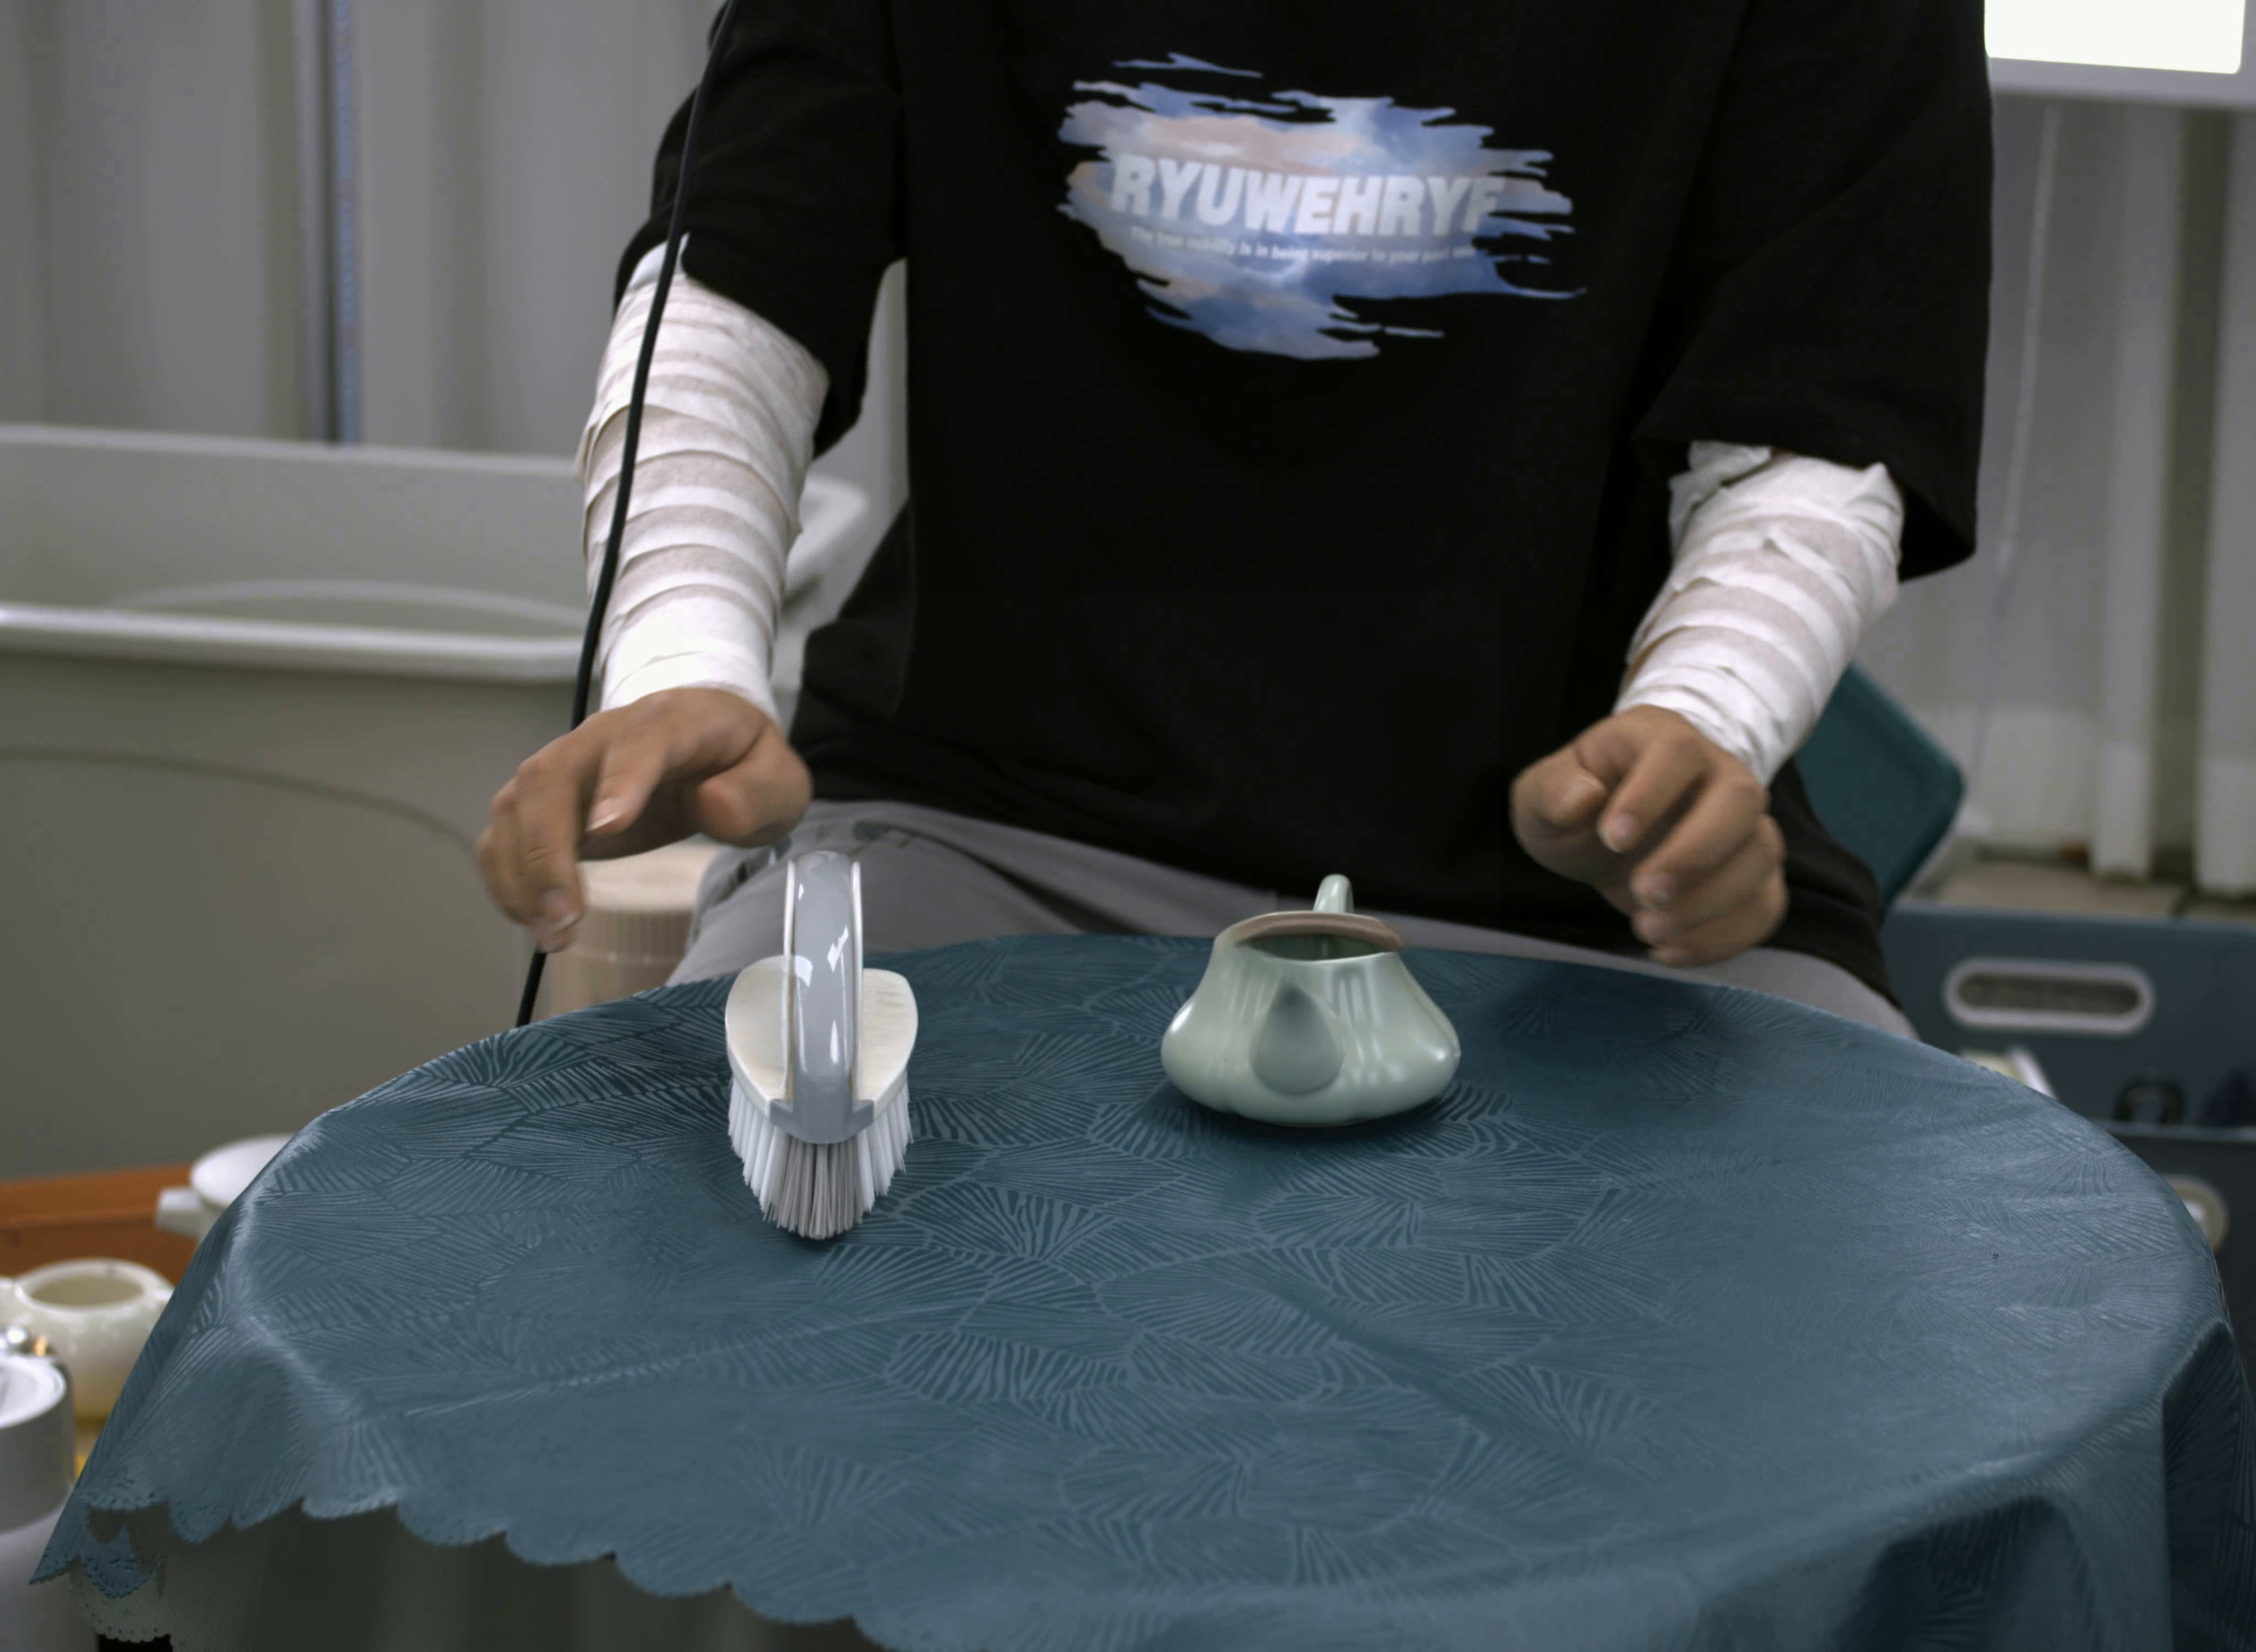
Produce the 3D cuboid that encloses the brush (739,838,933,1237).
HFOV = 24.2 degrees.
[{"bbox_3d":[-0.092,0.060,1.639,0.061,0.095,0.174,-3,17,-1],"label":"brush"}]

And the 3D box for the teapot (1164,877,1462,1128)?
[{"bbox_3d":[0.060,0.060,1.704,0.095,0.062,0.136,0,15,7],"label":"teapot"}]
